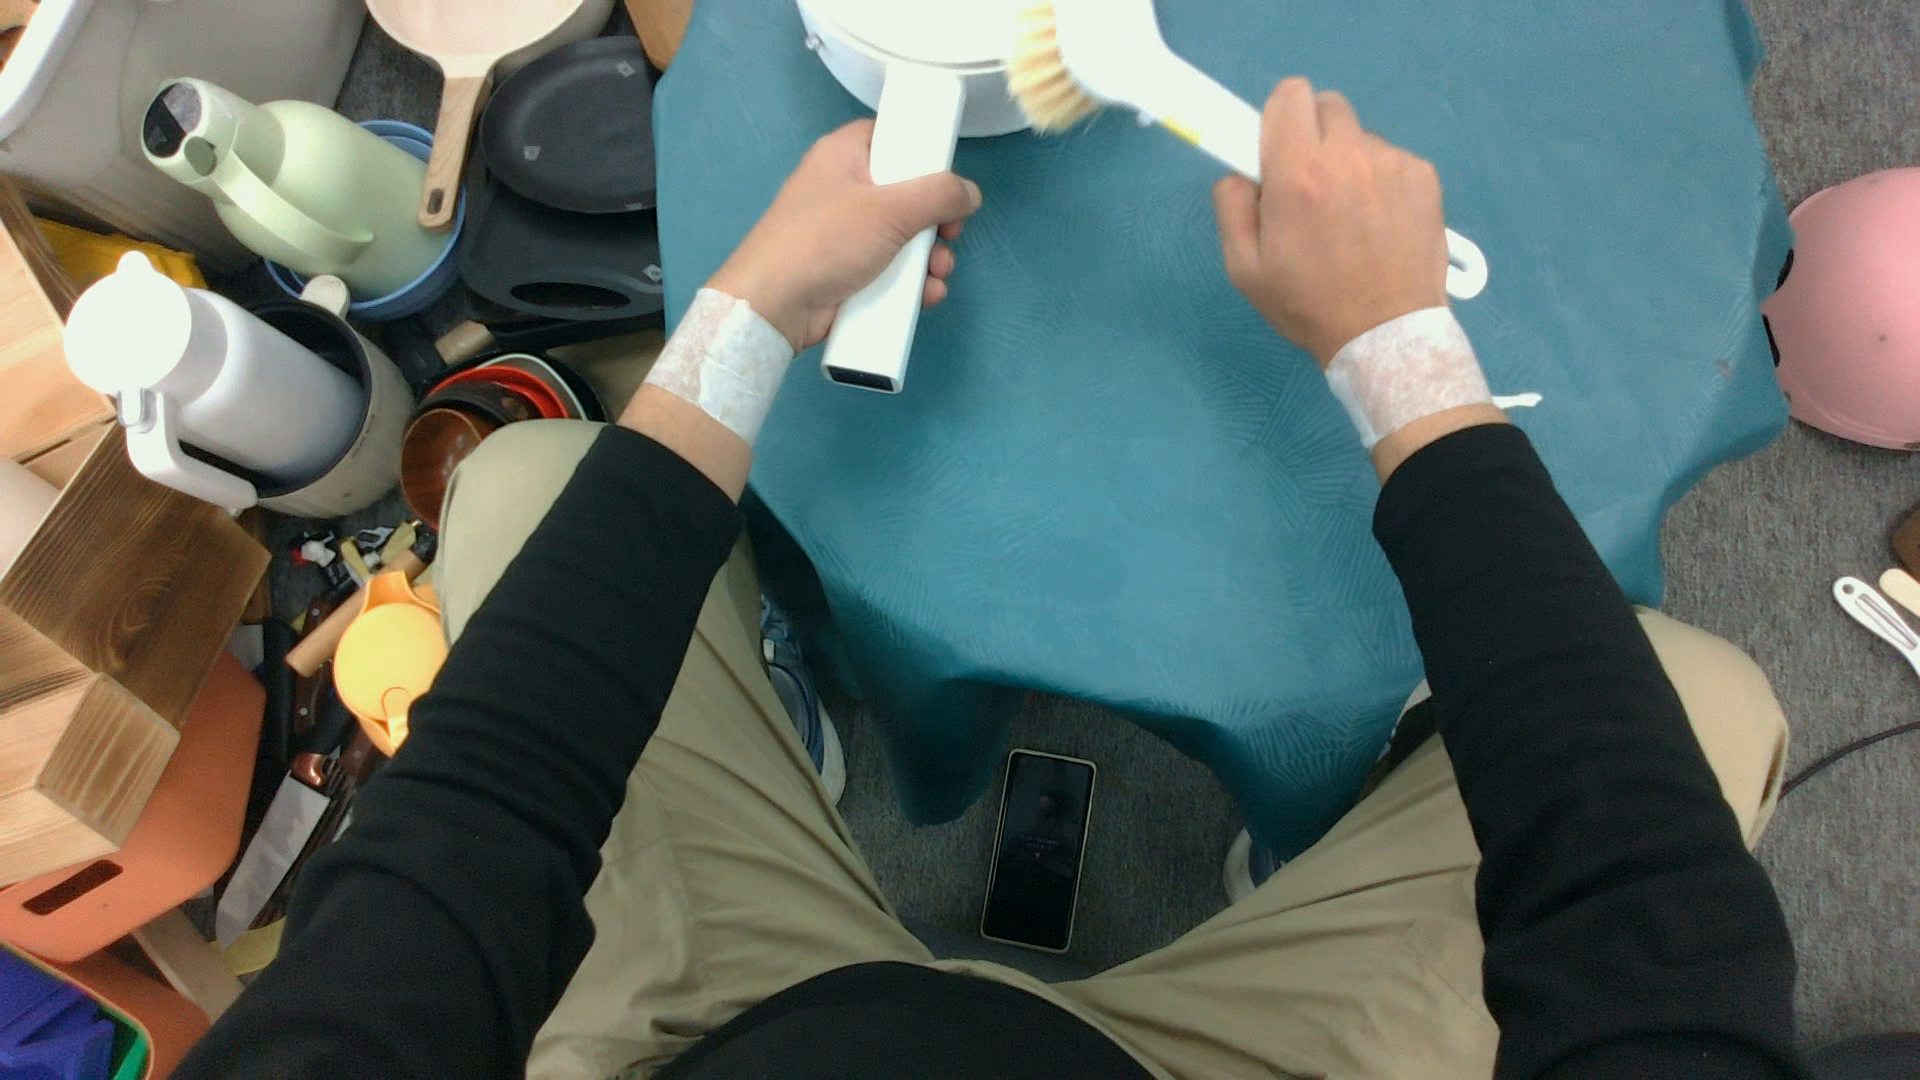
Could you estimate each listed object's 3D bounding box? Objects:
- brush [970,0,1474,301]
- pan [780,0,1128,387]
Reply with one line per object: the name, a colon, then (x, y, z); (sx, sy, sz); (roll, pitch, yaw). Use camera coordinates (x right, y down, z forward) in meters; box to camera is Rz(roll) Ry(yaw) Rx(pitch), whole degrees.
brush: (0.124, -0.172, 0.645); (0.266, 0.056, 0.068); (22, 81, -20)
pan: (-0.020, -0.244, 0.722); (0.201, 0.102, 0.355); (11, 80, 3)
